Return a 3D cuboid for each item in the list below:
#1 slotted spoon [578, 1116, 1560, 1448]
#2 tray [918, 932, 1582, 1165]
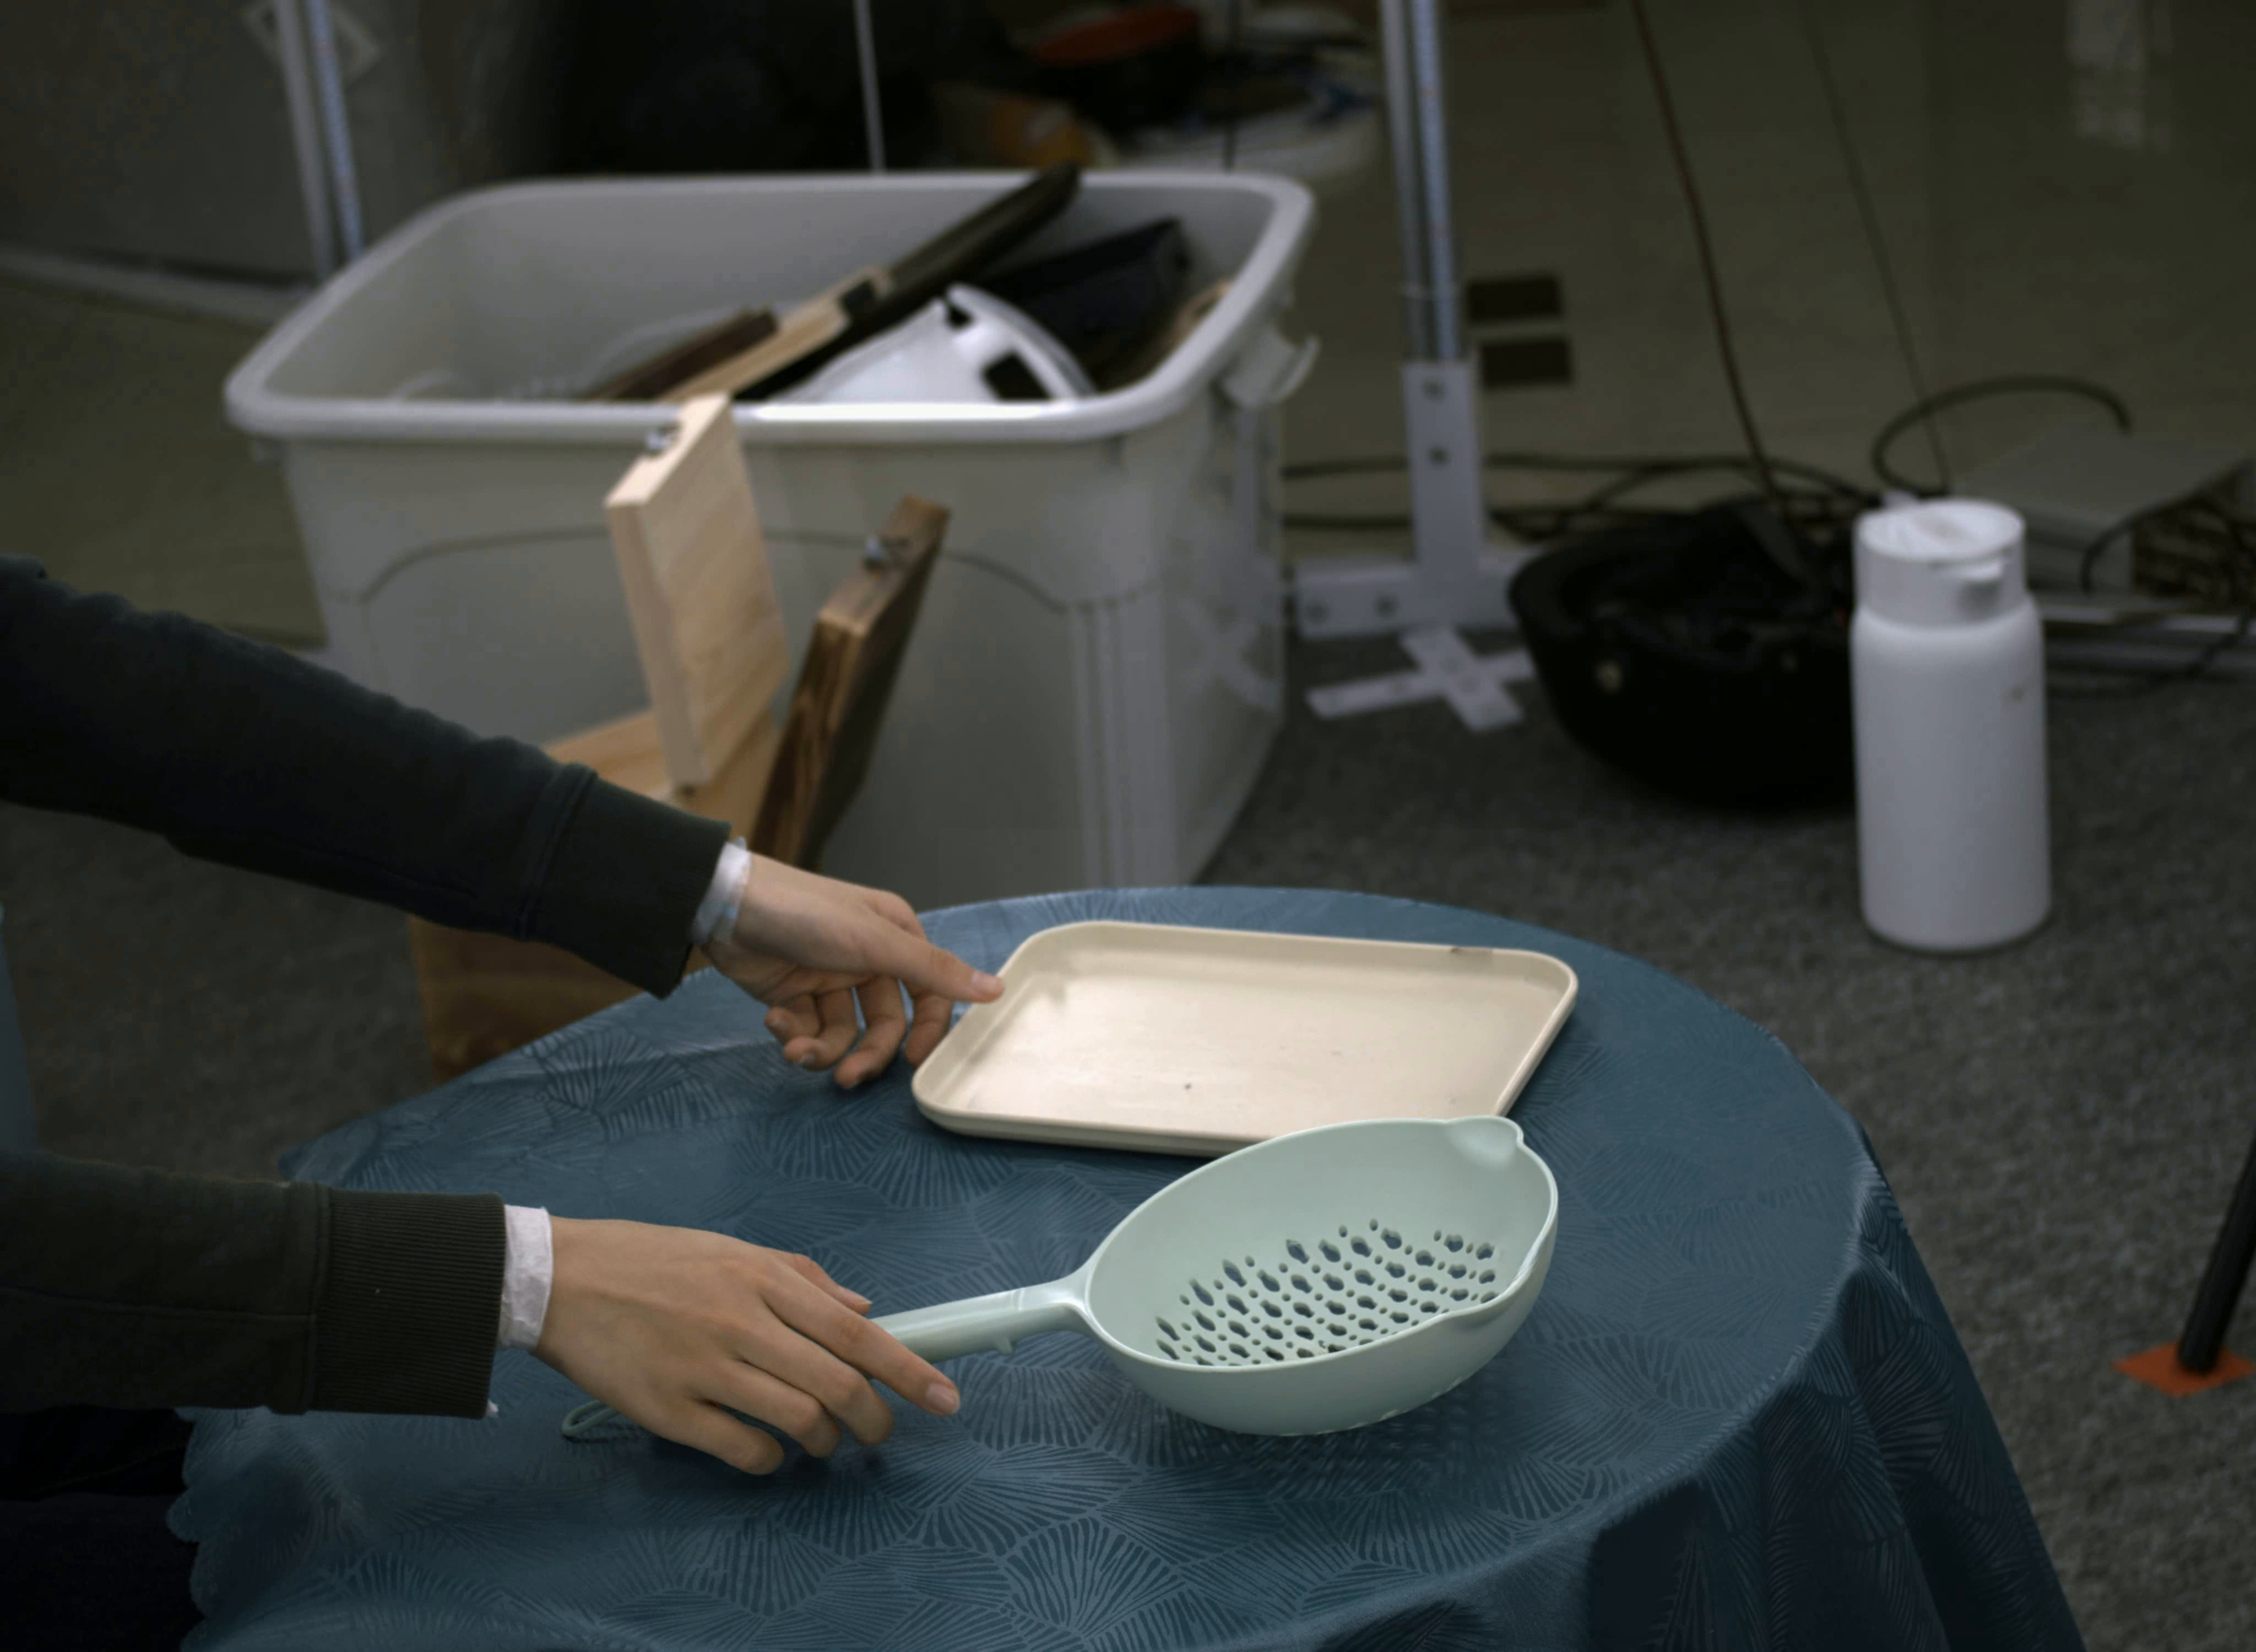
[{"bbox_3d":[-0.024,0.176,2.004,0.358,0.076,0.167,-4,24,6],"label":"slotted spoon"},{"bbox_3d":[0.049,0.089,2.230,0.239,0.018,0.169,3,26,21],"label":"tray"}]
